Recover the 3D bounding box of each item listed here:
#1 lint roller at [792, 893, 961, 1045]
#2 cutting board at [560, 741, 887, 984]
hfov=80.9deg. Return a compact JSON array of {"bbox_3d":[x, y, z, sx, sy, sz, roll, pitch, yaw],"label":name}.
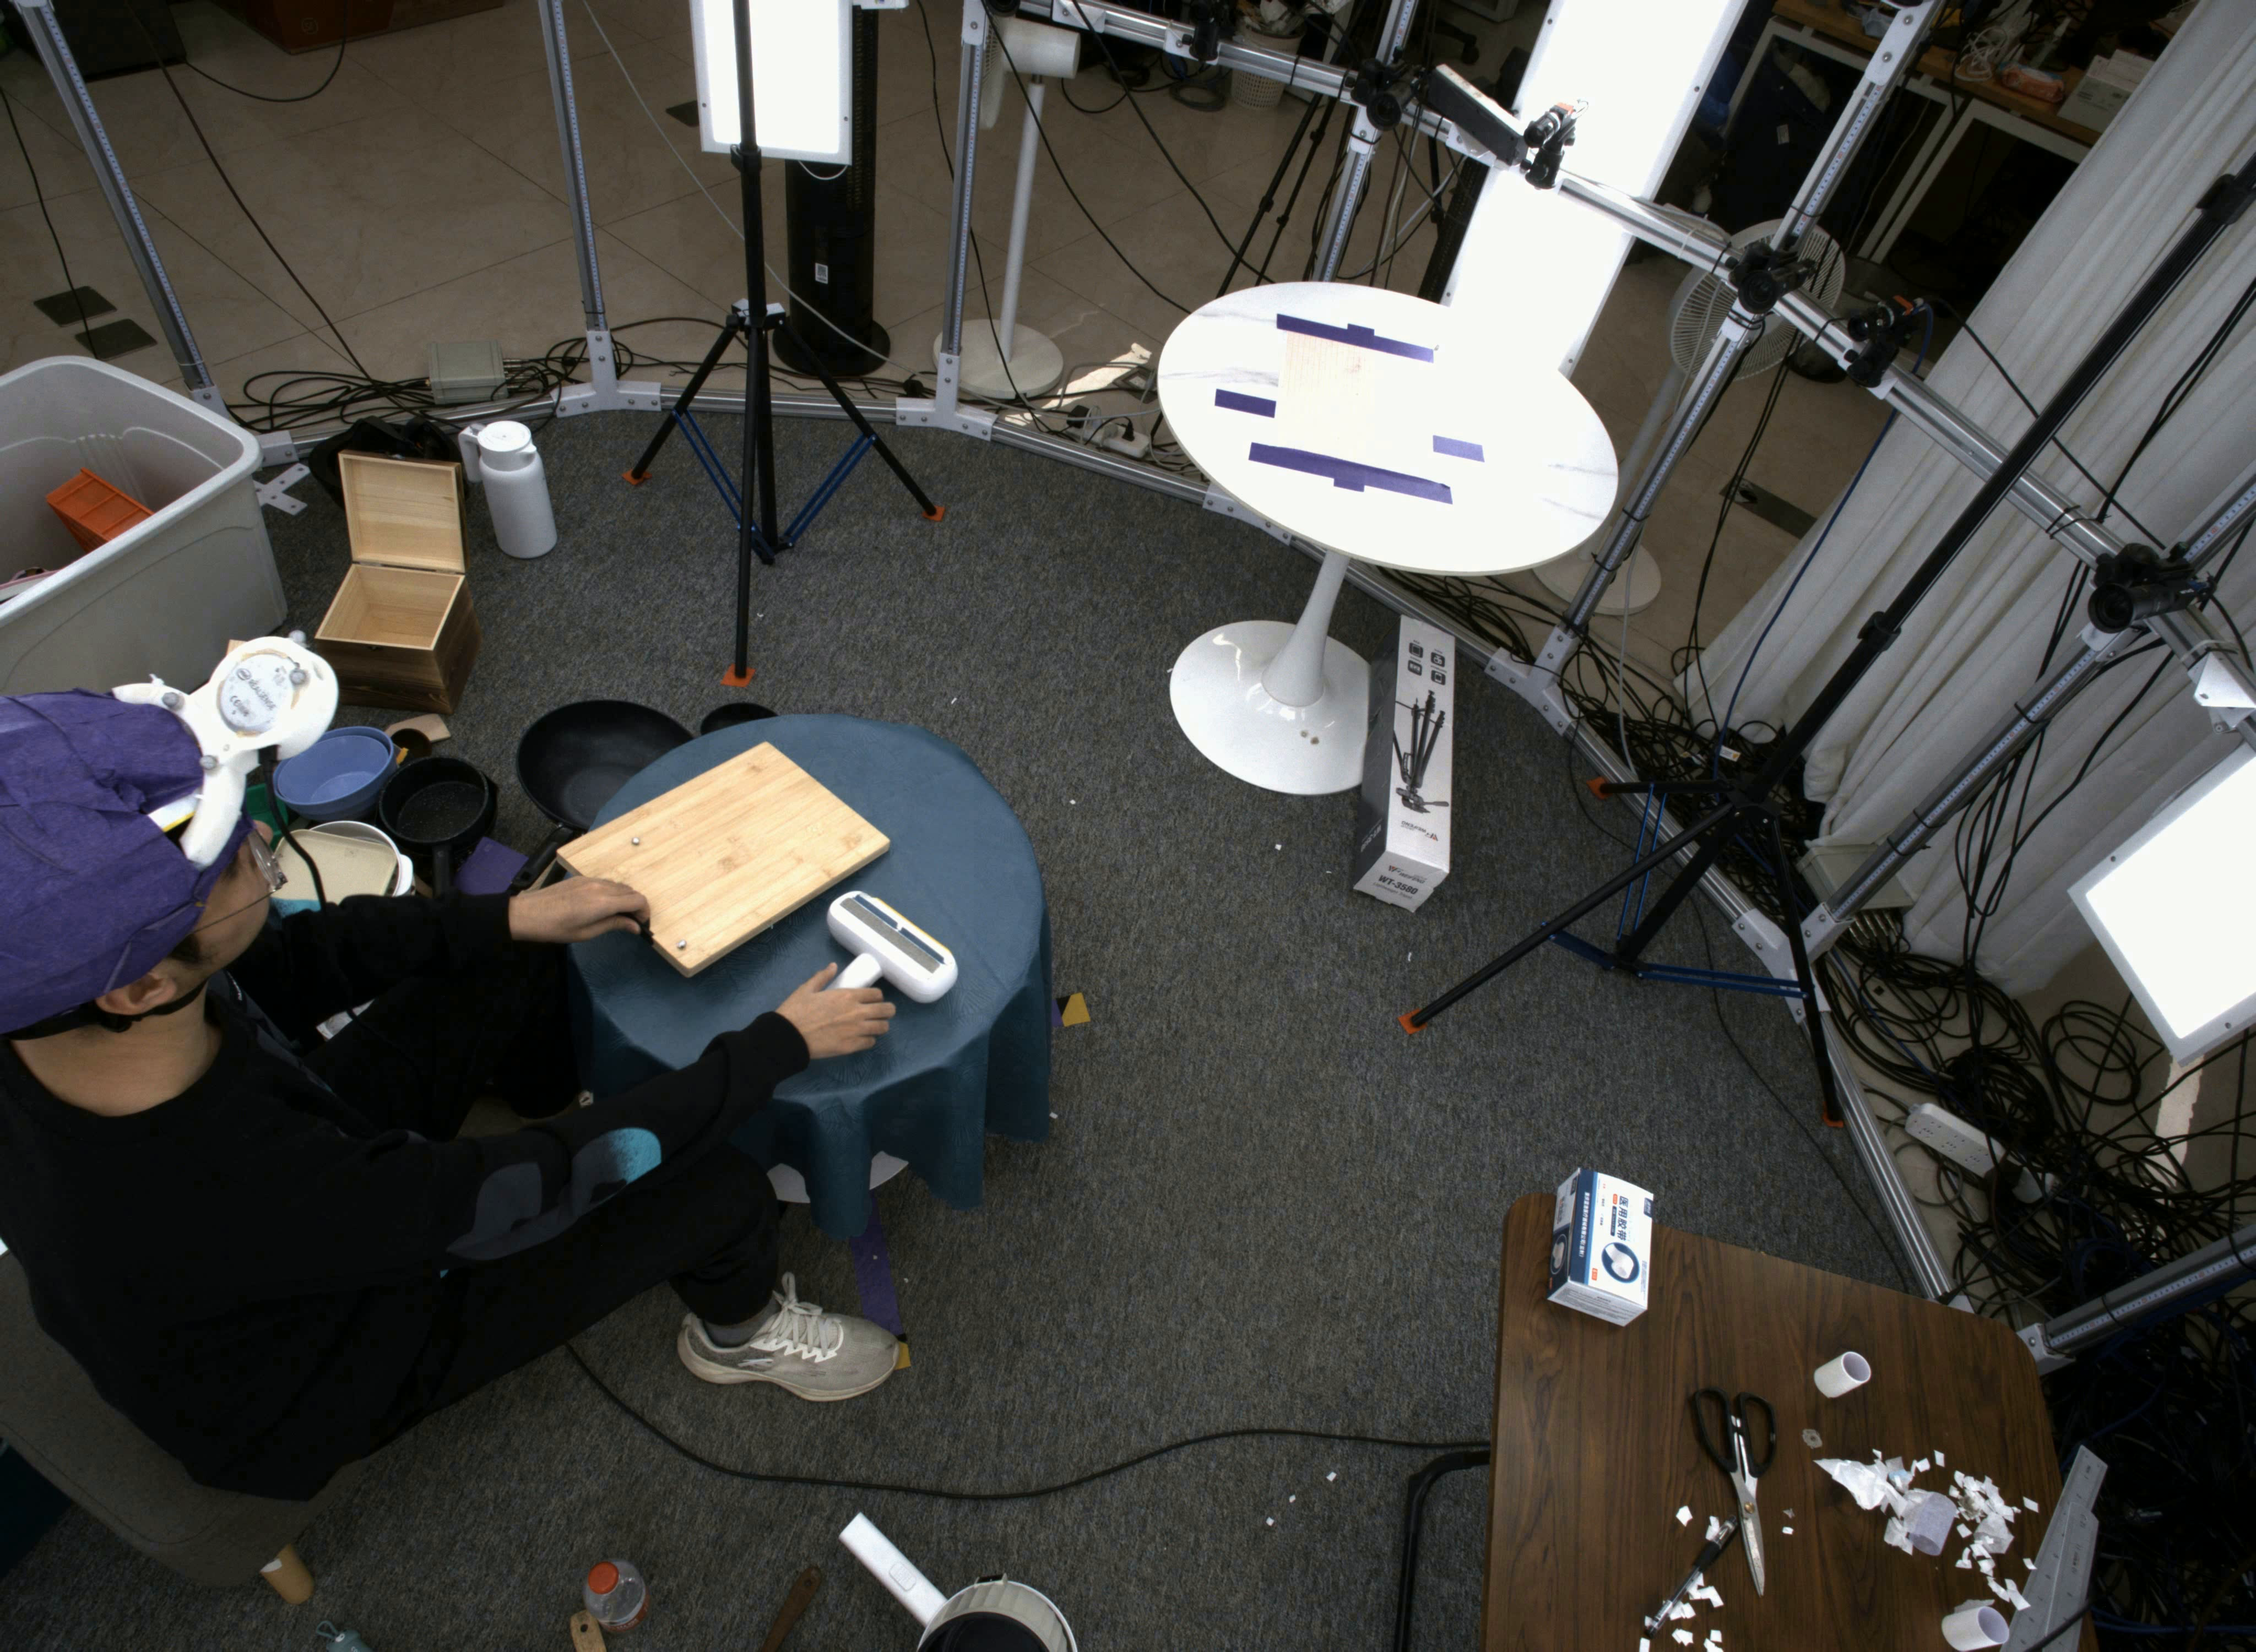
[{"bbox_3d":[-0.326,0.185,1.576,0.187,0.076,0.193,38,56,21],"label":"lint roller"},{"bbox_3d":[-0.508,0.032,1.635,0.246,0.024,0.349,37,44,14],"label":"cutting board"}]
